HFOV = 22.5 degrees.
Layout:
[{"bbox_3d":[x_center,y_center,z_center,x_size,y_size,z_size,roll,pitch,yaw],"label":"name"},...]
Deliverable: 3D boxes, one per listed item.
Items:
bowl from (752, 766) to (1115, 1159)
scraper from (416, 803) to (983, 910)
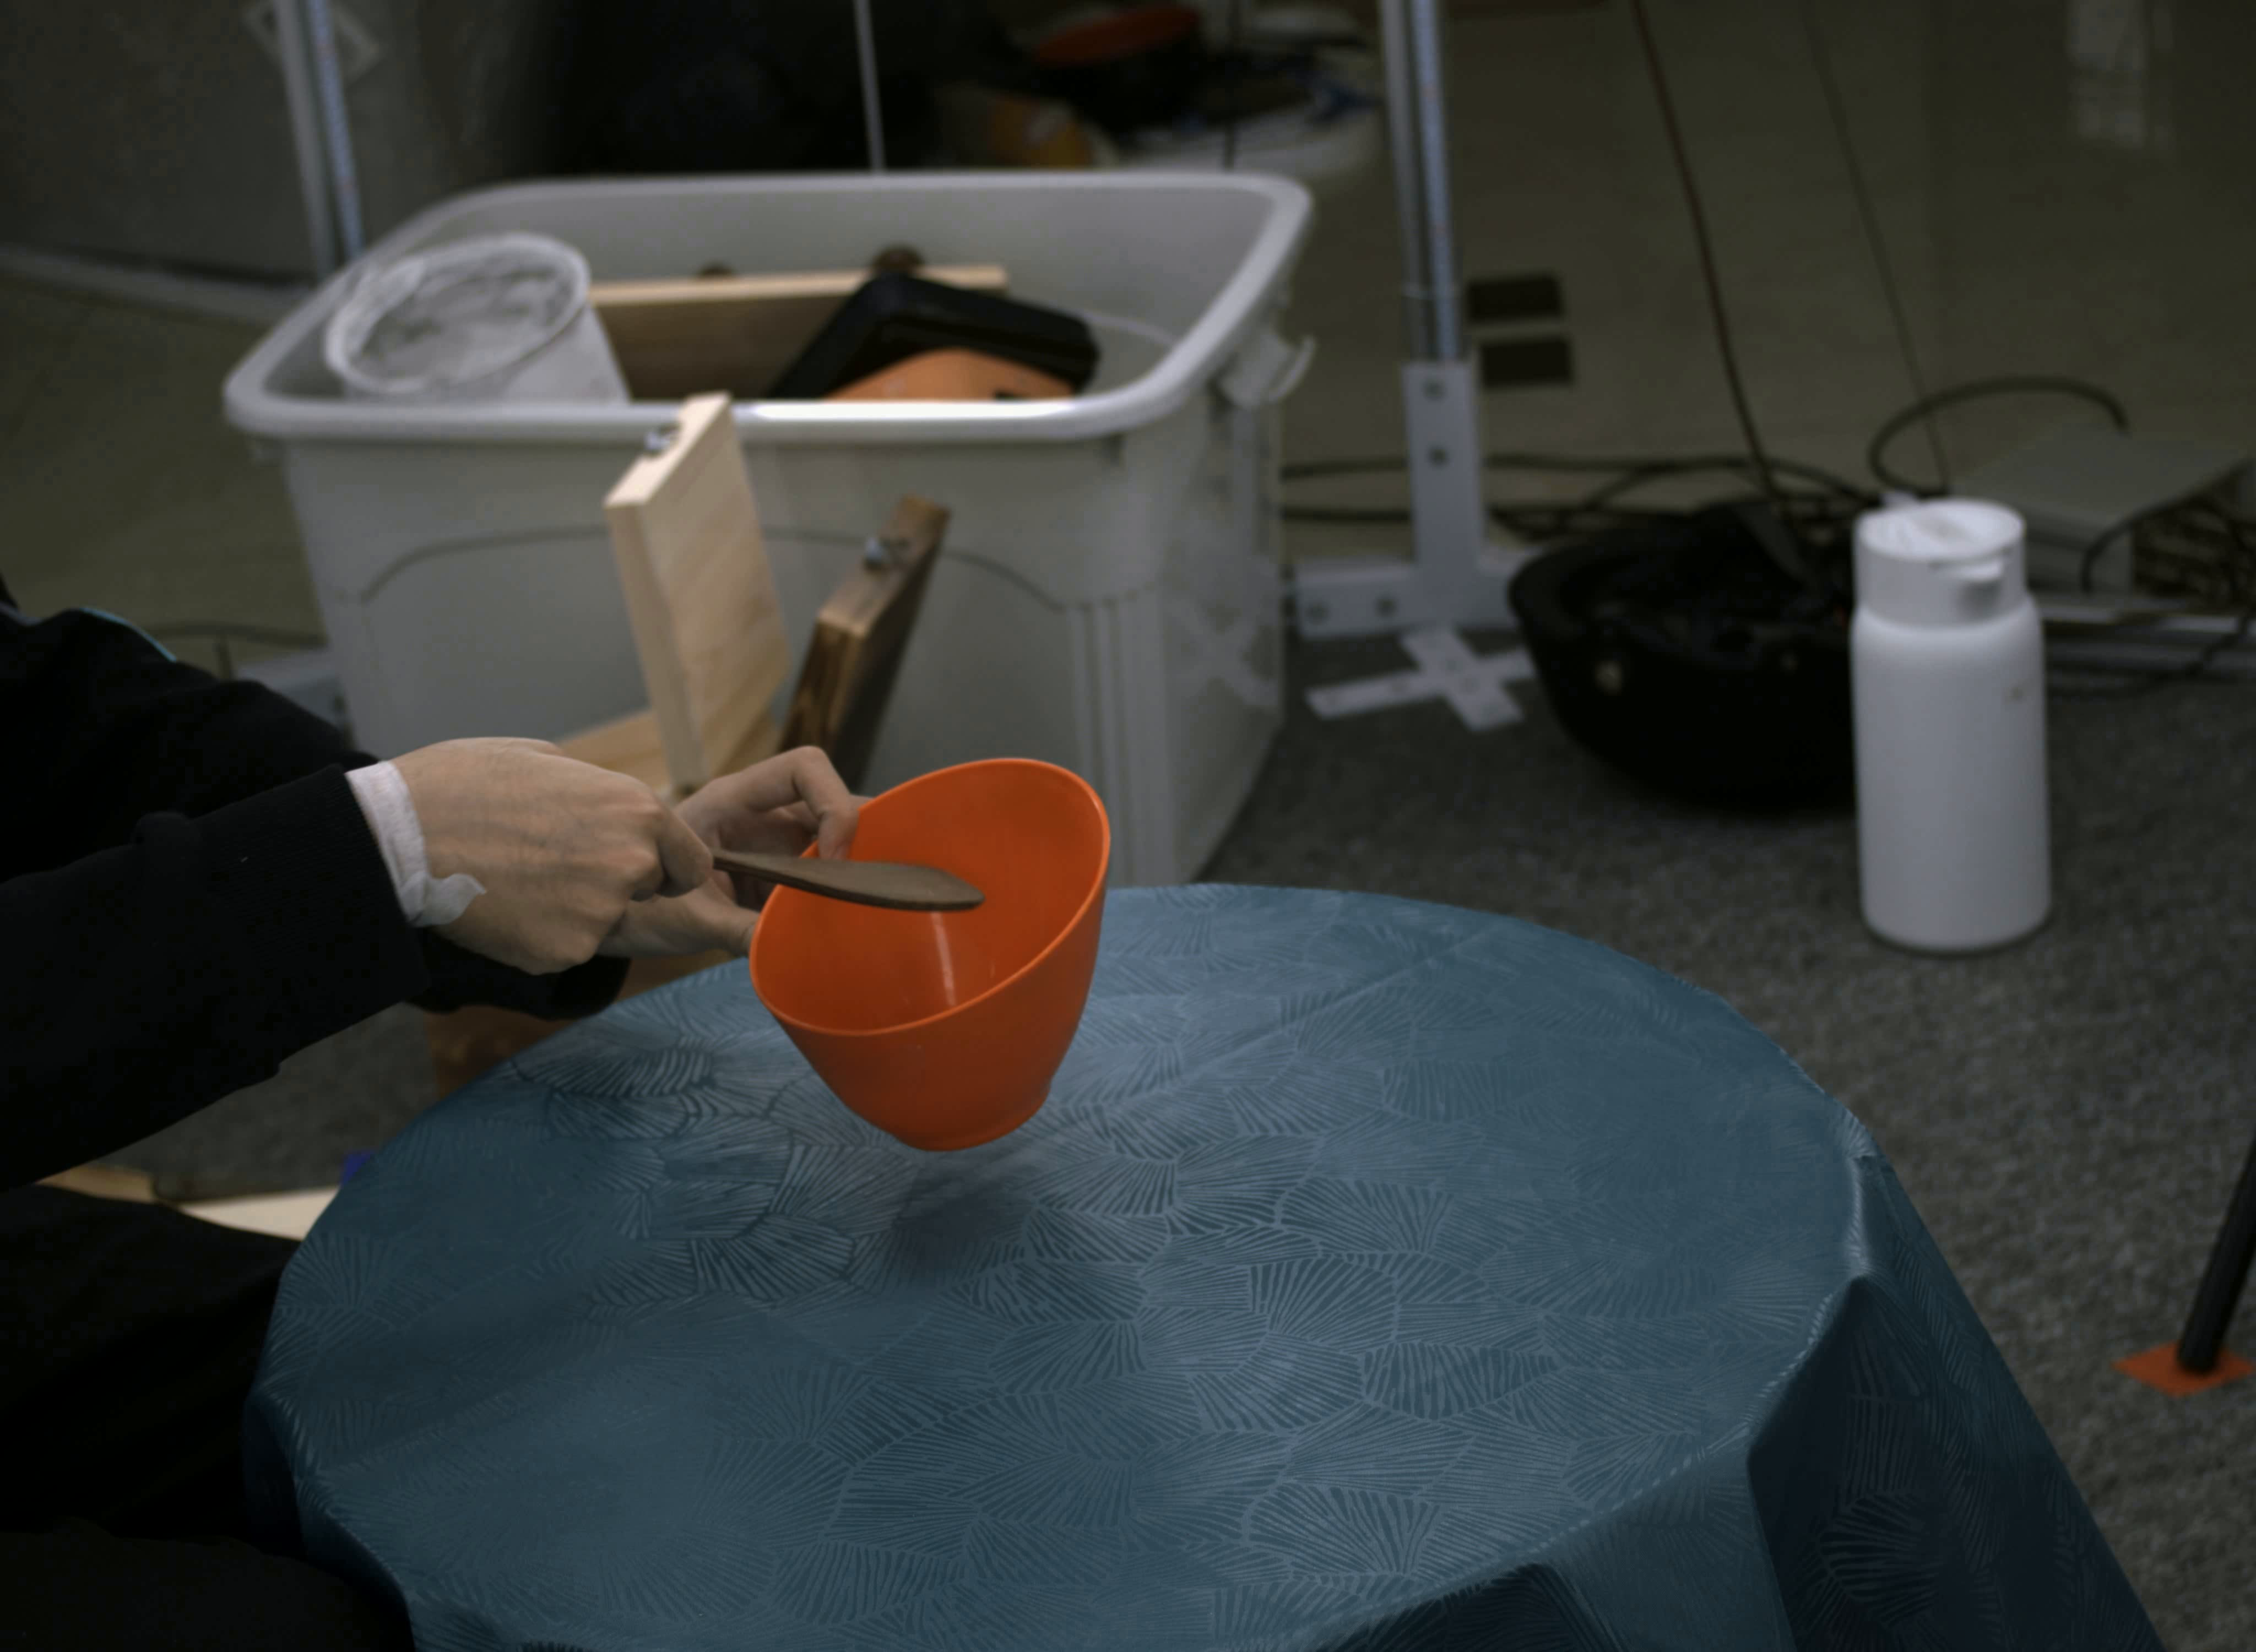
[{"bbox_3d":[-0.064,0.061,2.160,0.148,0.106,0.145,-12,34,8],"label":"bowl"},{"bbox_3d":[-0.158,0.010,2.081,0.211,0.011,0.075,9,8,-21],"label":"scraper"}]
